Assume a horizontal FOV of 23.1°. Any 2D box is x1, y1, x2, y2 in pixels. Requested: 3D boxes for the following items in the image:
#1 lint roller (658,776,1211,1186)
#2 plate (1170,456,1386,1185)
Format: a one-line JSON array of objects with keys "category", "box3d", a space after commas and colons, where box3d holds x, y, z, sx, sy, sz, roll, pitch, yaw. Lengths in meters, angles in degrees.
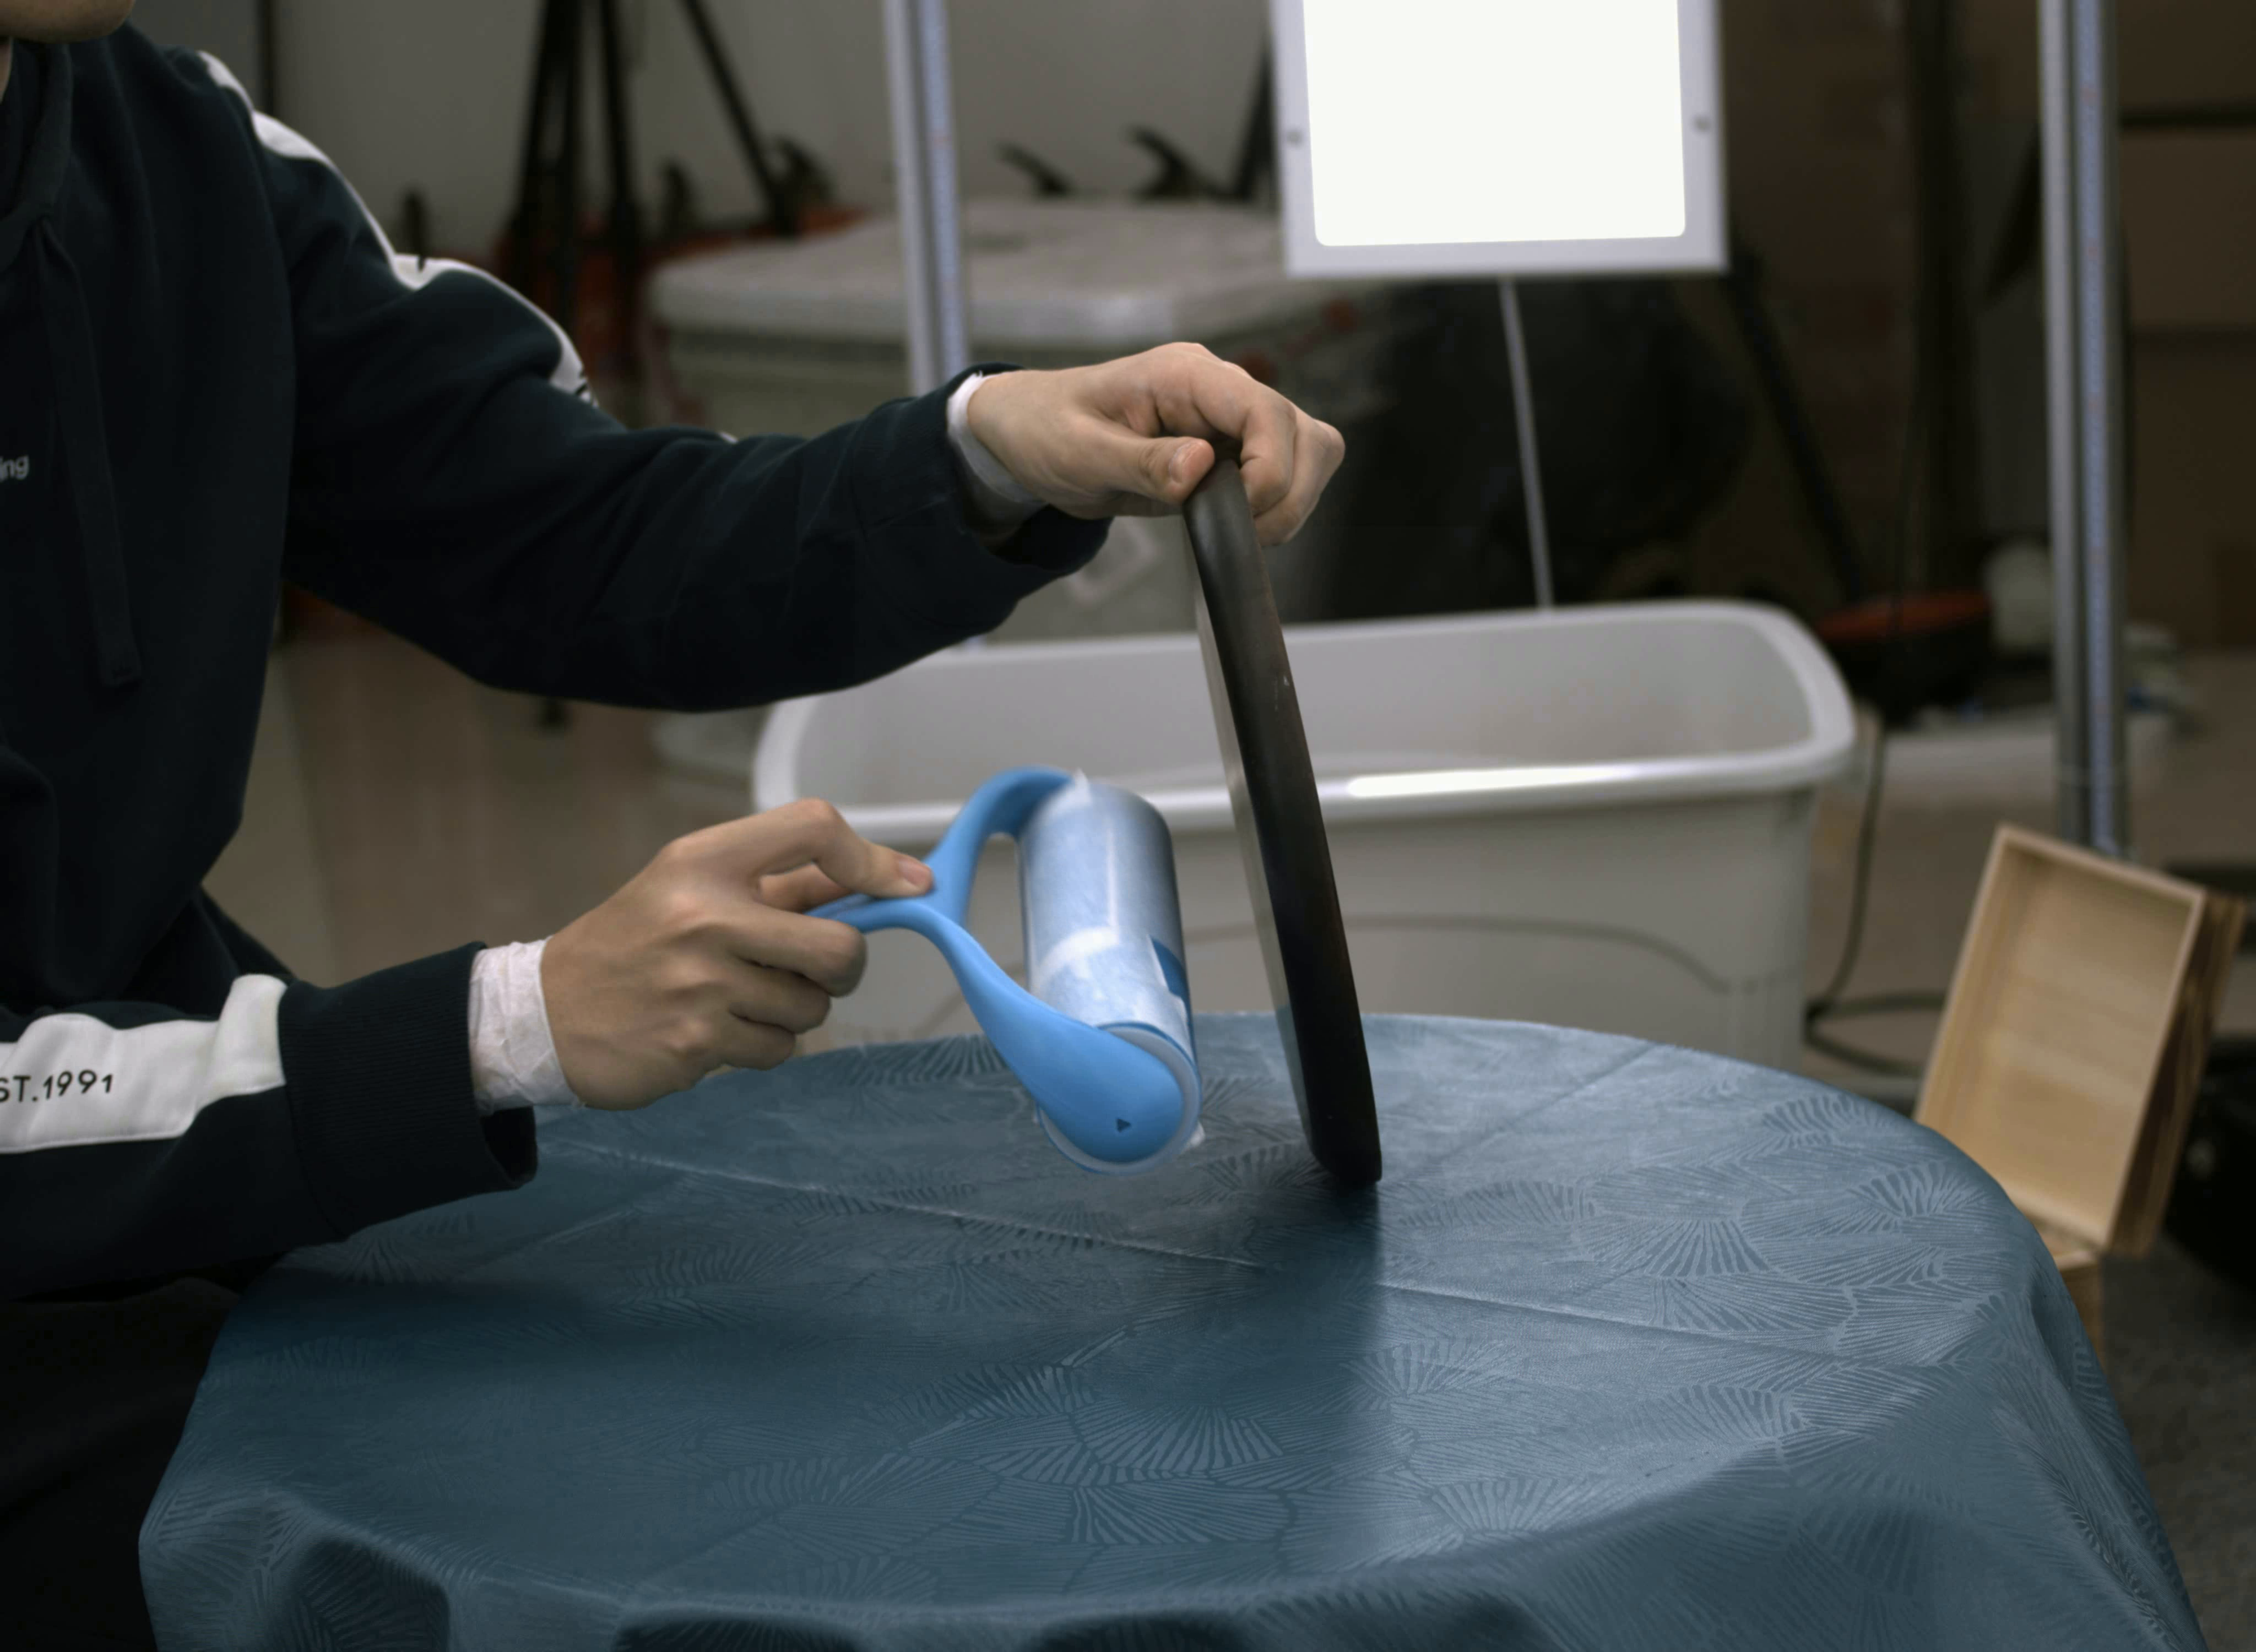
[{"category": "lint roller", "box3d": [-0.064, 0.050, 1.809, 0.179, 0.068, 0.229, 0, 25, -4]}, {"category": "plate", "box3d": [0.051, 0.000, 1.871, 0.029, 0.255, 0.255, -11, 14, -2]}]
